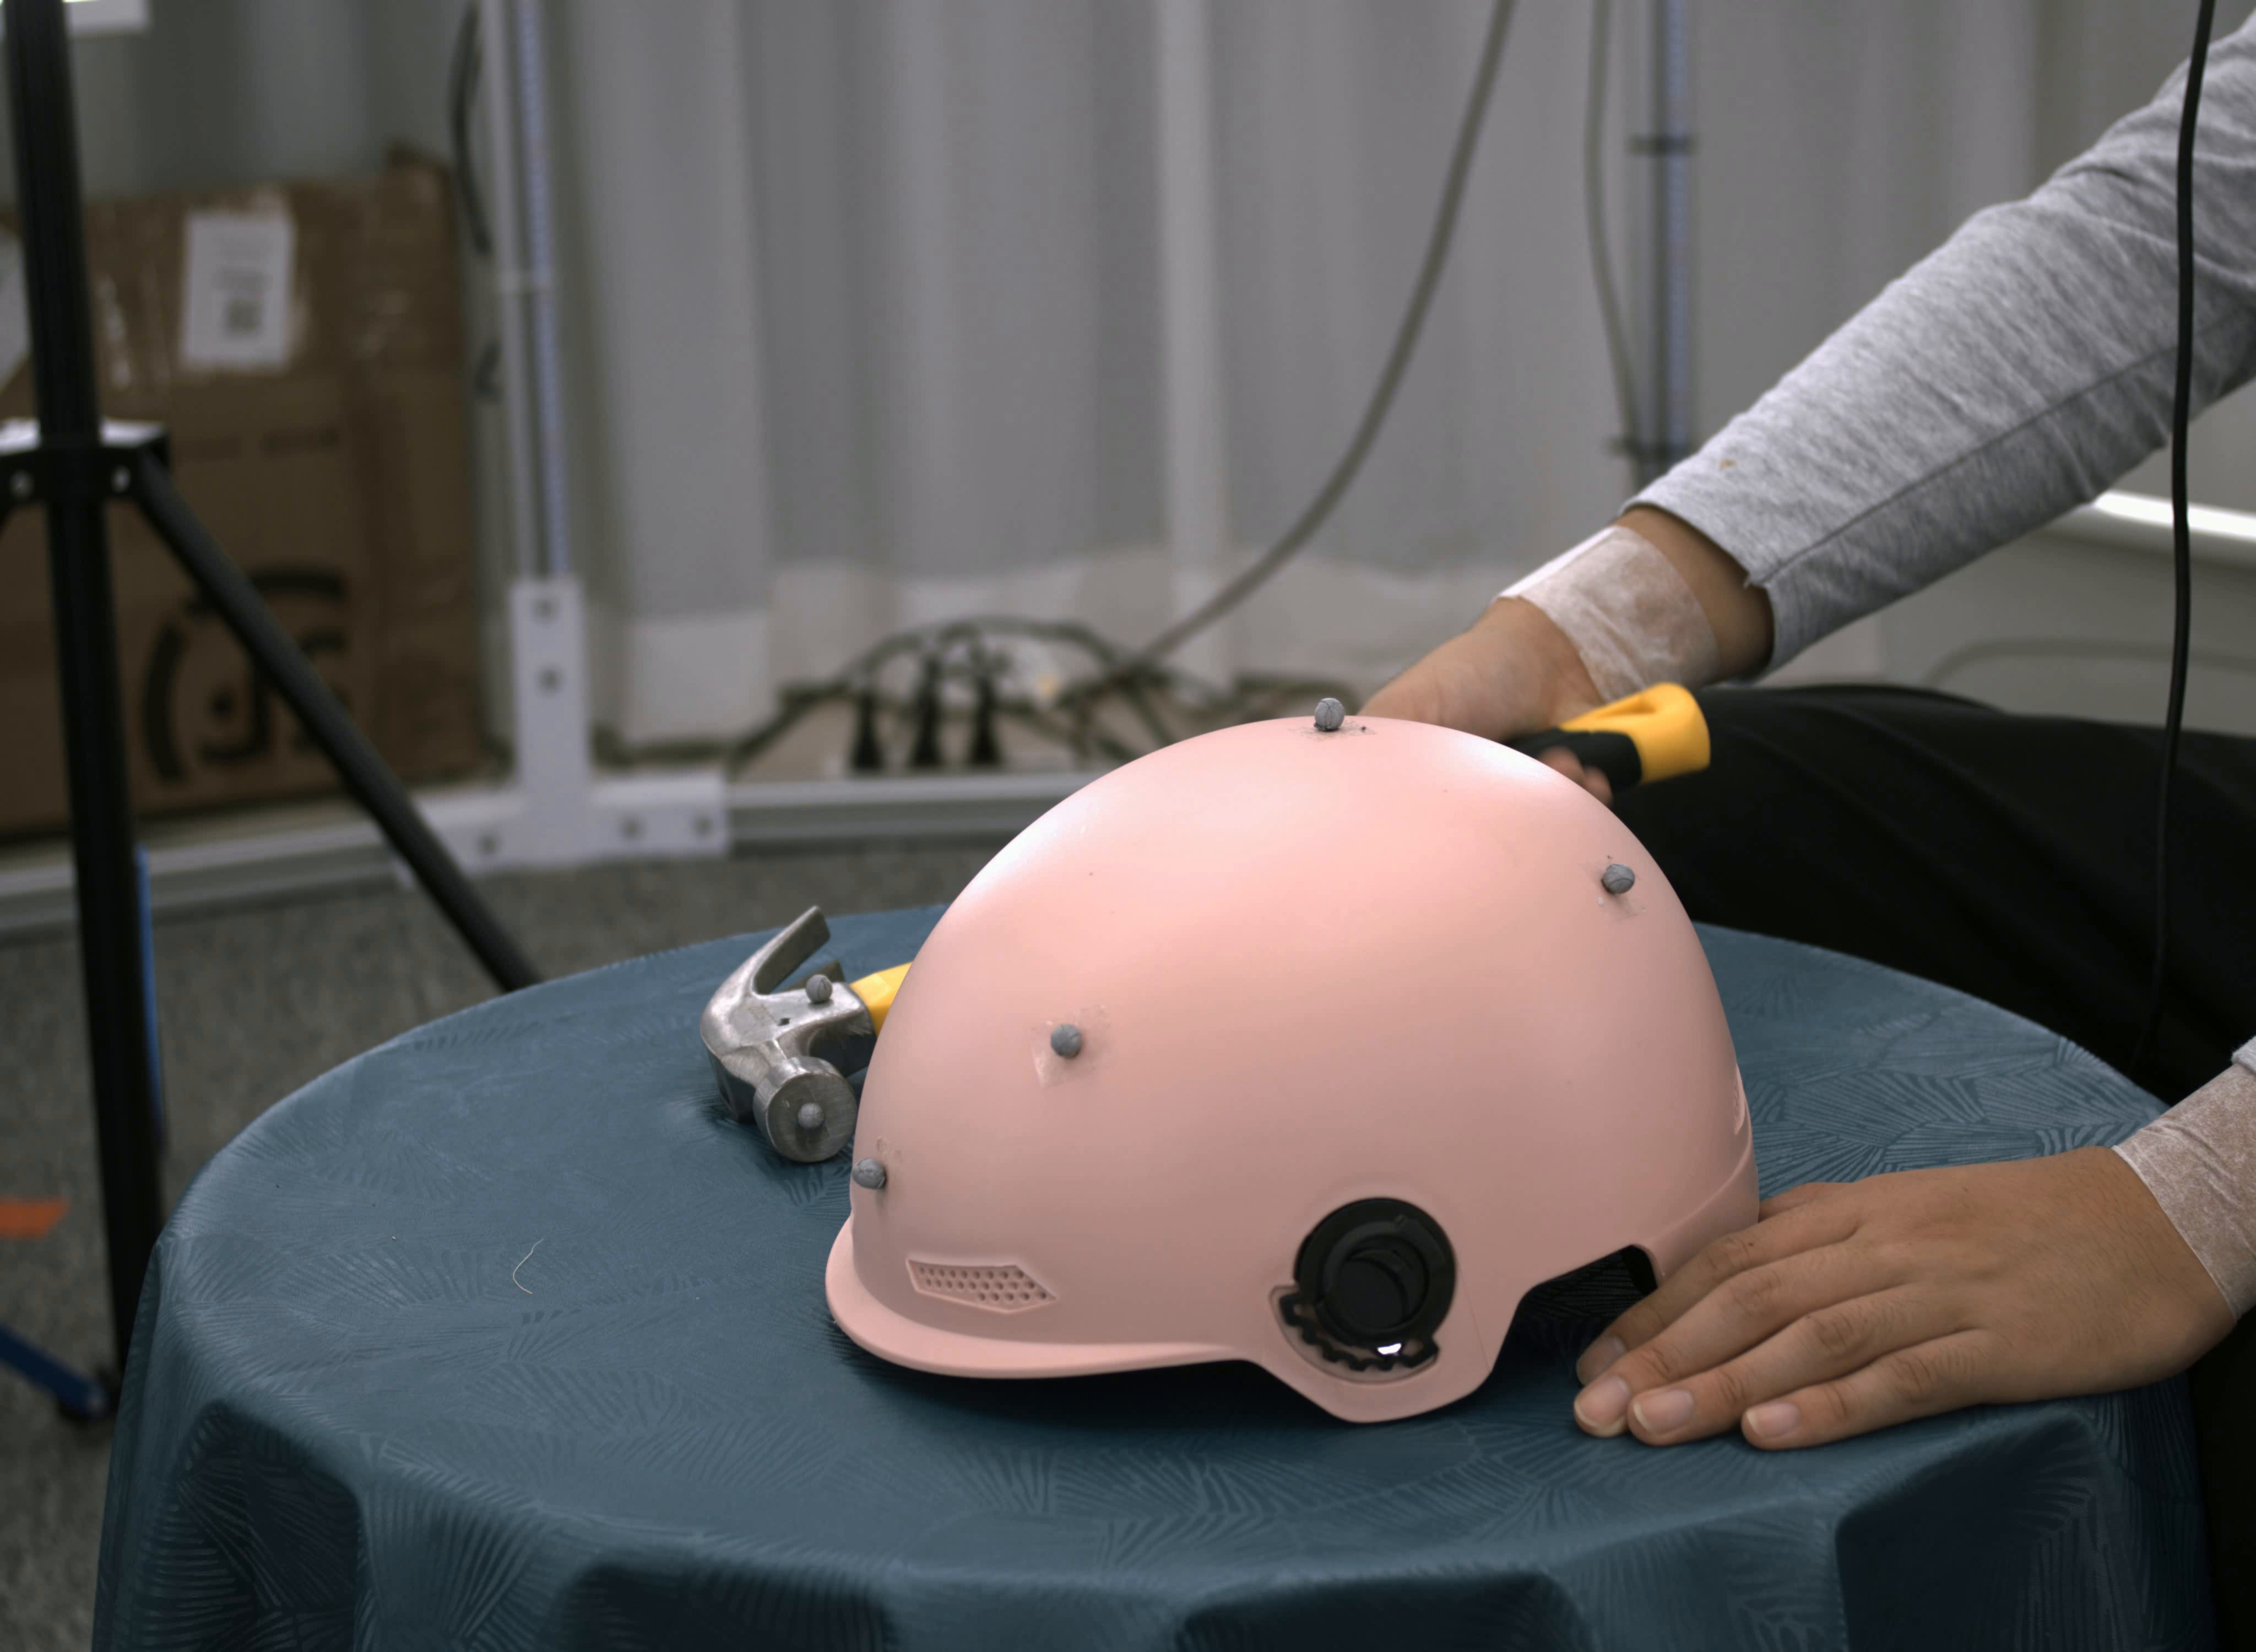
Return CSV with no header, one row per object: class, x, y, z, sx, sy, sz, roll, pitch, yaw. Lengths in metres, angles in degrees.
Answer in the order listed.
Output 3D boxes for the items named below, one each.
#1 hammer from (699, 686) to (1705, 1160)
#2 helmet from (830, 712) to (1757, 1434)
hammer,0.026,0.021,1.677,0.335,0.032,0.133,-19,18,-10
helmet,0.041,0.055,1.461,0.261,0.158,0.238,-13,18,-20
